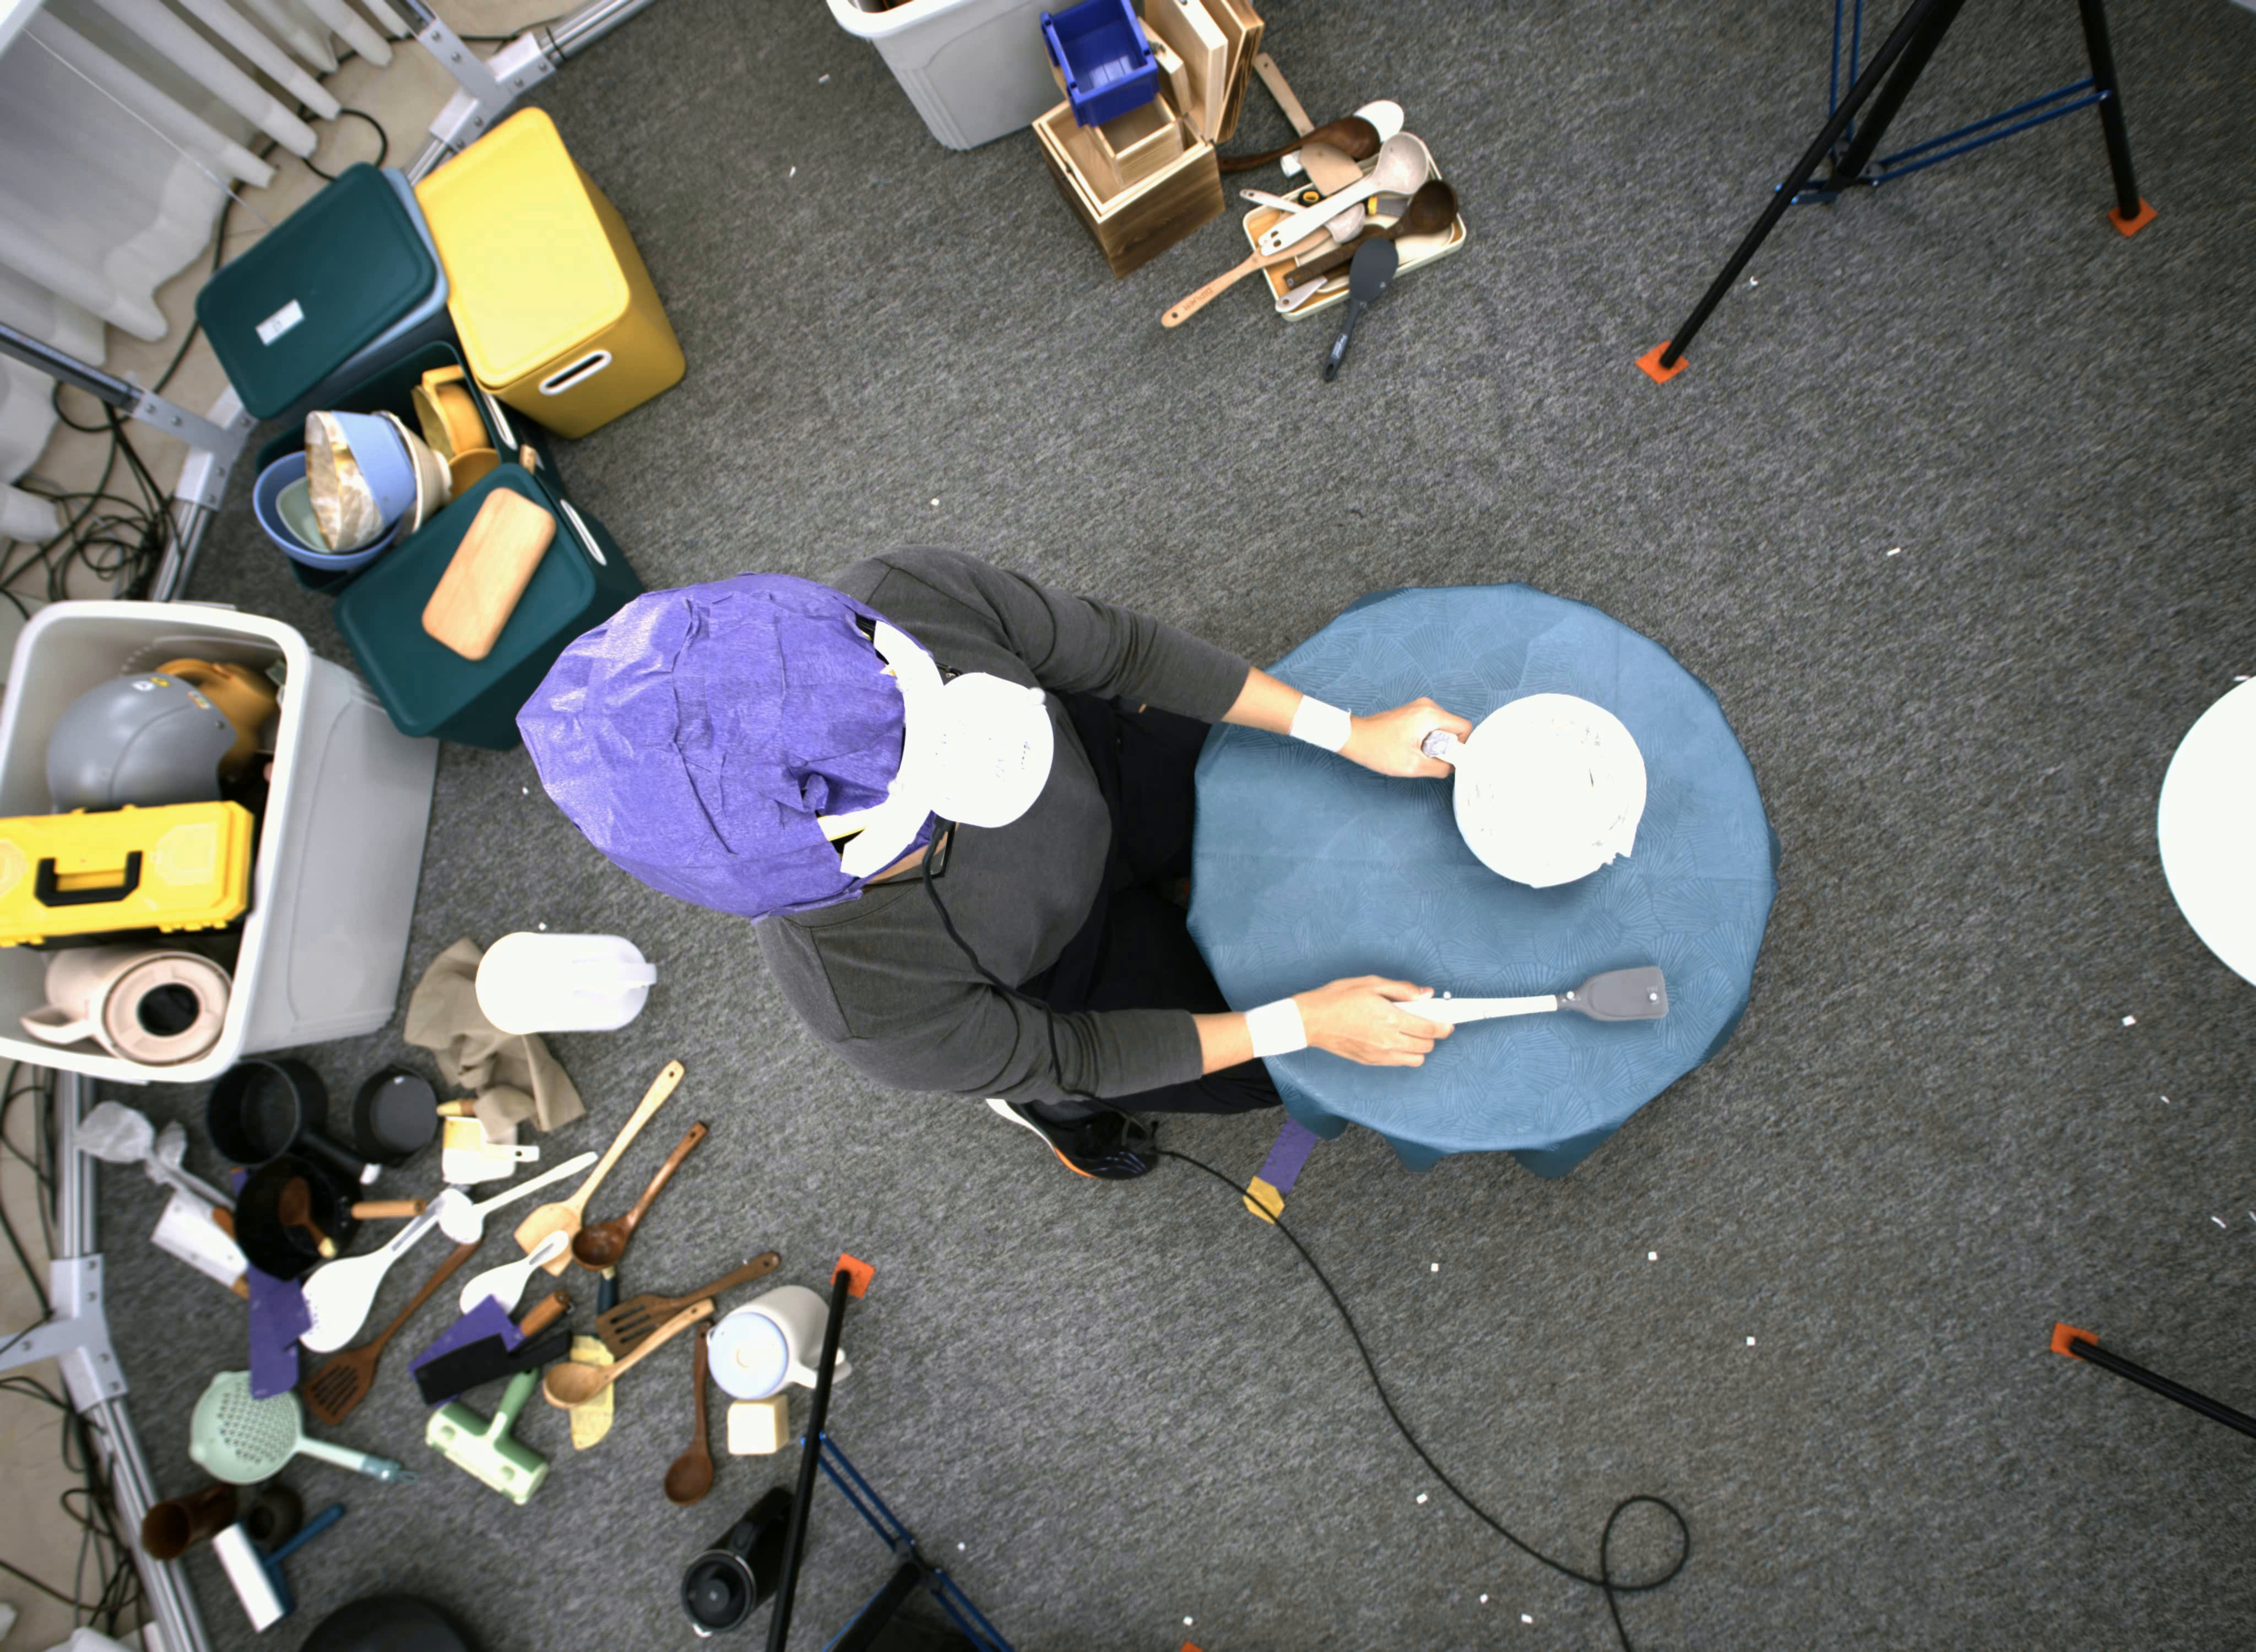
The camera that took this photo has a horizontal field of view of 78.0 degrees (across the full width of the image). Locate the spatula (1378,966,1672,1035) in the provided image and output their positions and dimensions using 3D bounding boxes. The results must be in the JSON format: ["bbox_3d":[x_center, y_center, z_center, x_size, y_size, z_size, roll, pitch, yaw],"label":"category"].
[{"bbox_3d":[0.398,0.179,1.387,0.288,0.032,0.058,-6,71,7],"label":"spatula"}]

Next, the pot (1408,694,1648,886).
[{"bbox_3d":[0.391,-0.044,1.373,0.233,0.137,0.178,23,90,14],"label":"pot"}]
